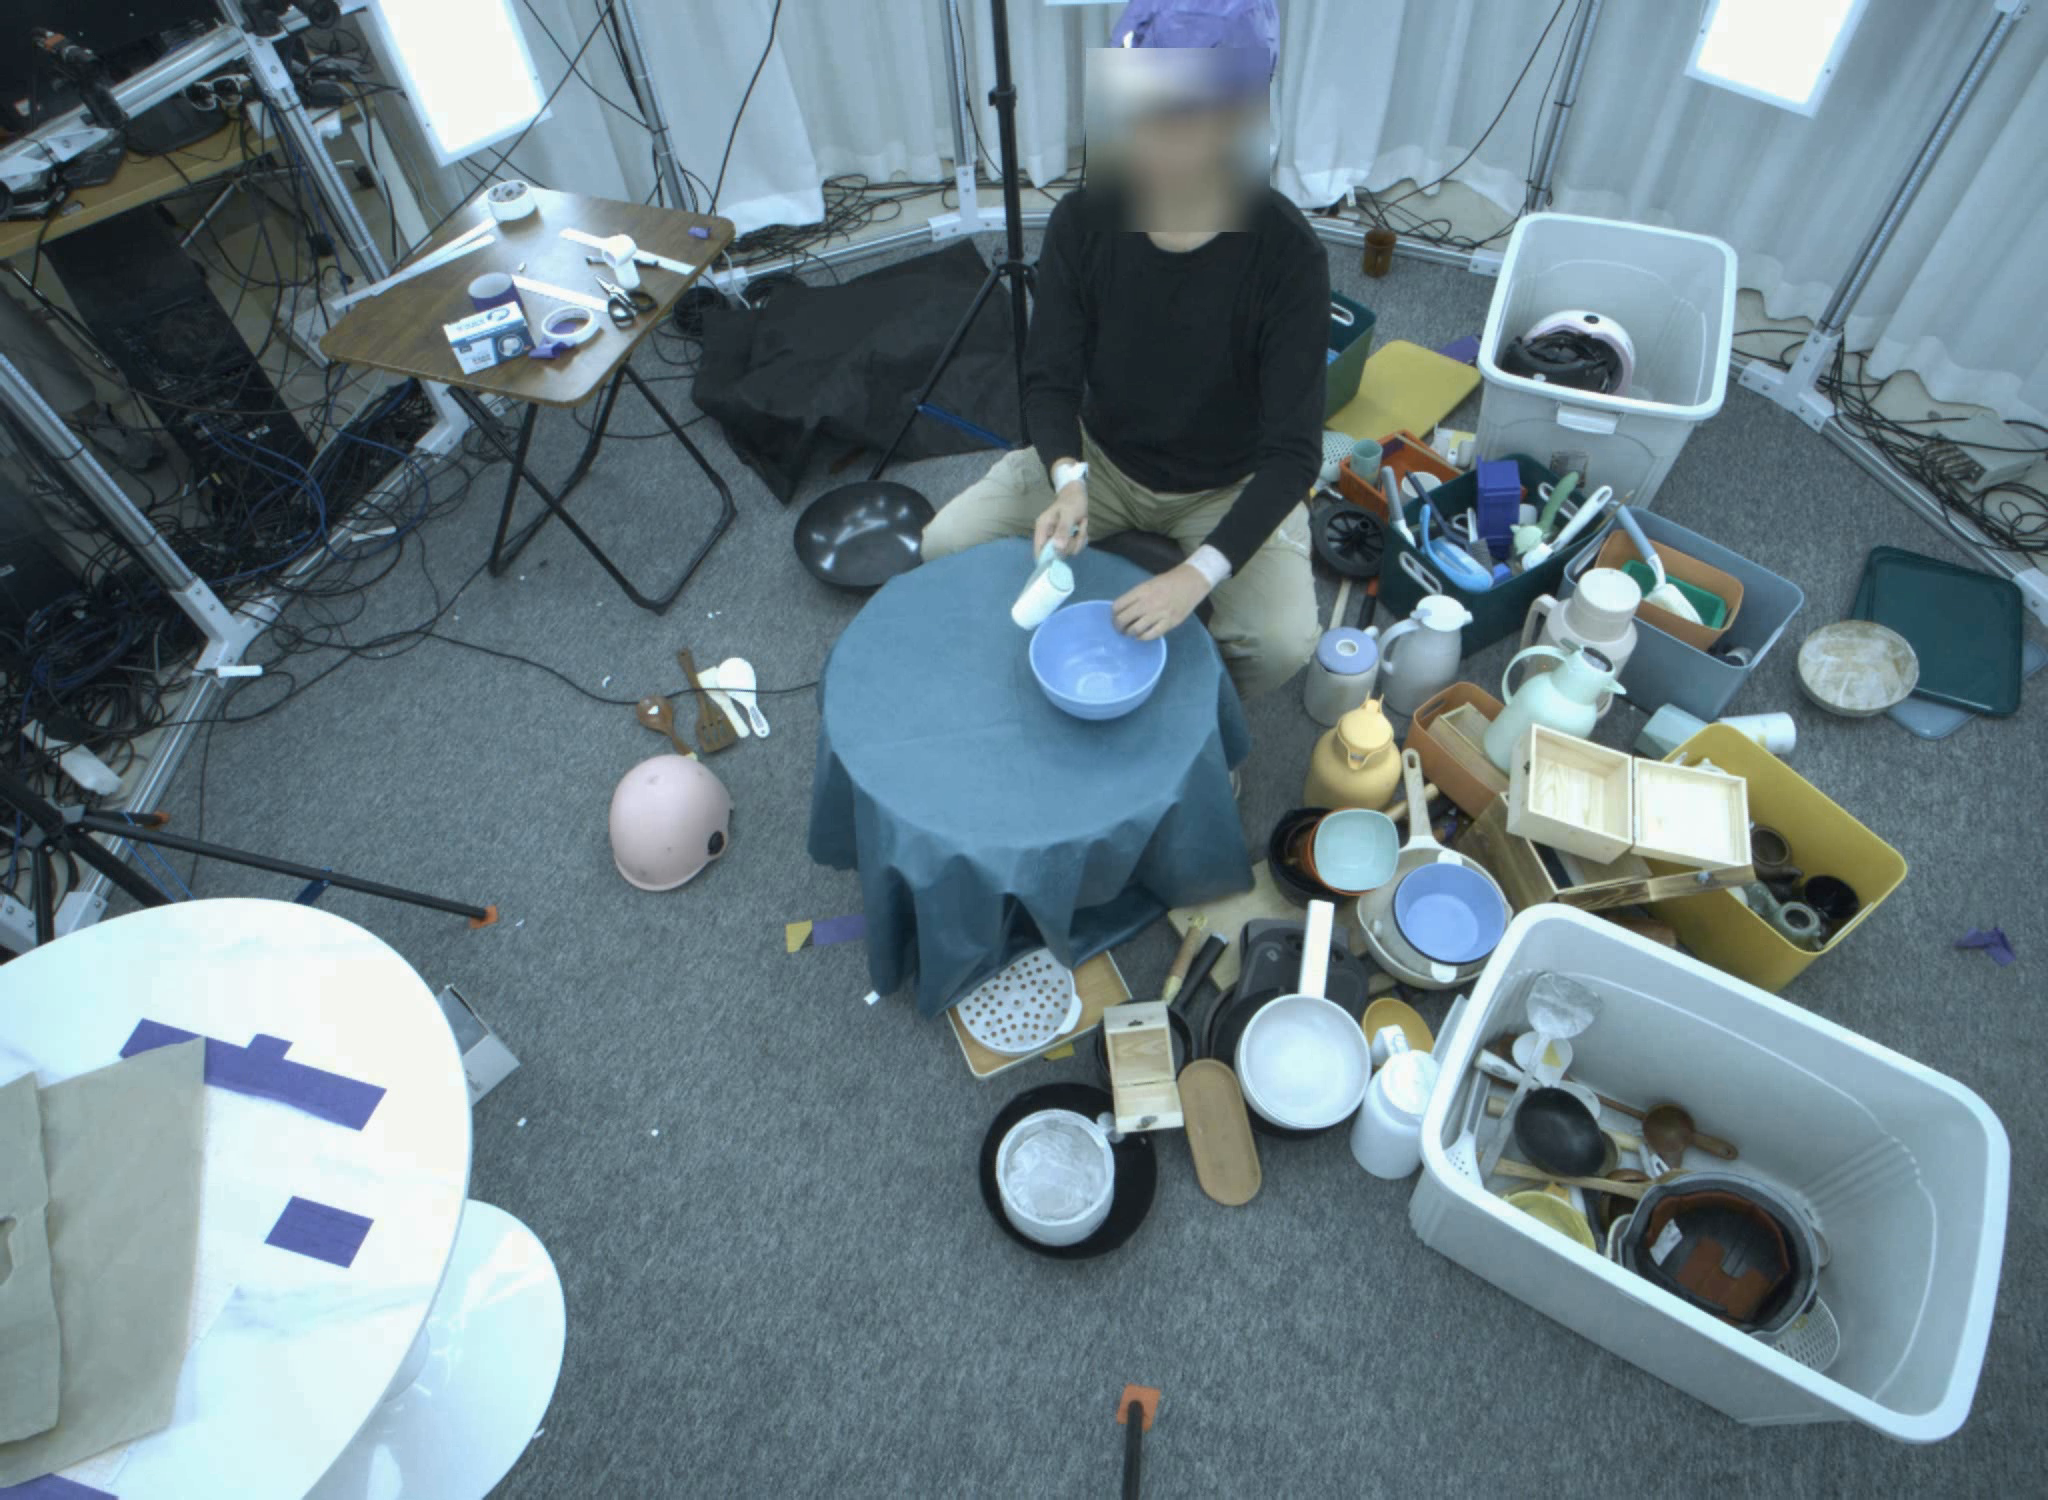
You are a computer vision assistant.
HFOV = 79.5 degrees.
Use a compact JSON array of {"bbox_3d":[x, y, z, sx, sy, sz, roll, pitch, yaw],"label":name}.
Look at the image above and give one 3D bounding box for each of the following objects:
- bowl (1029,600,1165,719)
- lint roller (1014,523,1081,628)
[{"bbox_3d":[0.108,-0.118,1.807,0.196,0.096,0.194,-1,55,3],"label":"bowl"},{"bbox_3d":[0.045,-0.280,1.824,0.049,0.115,0.196,28,52,-16],"label":"lint roller"}]
